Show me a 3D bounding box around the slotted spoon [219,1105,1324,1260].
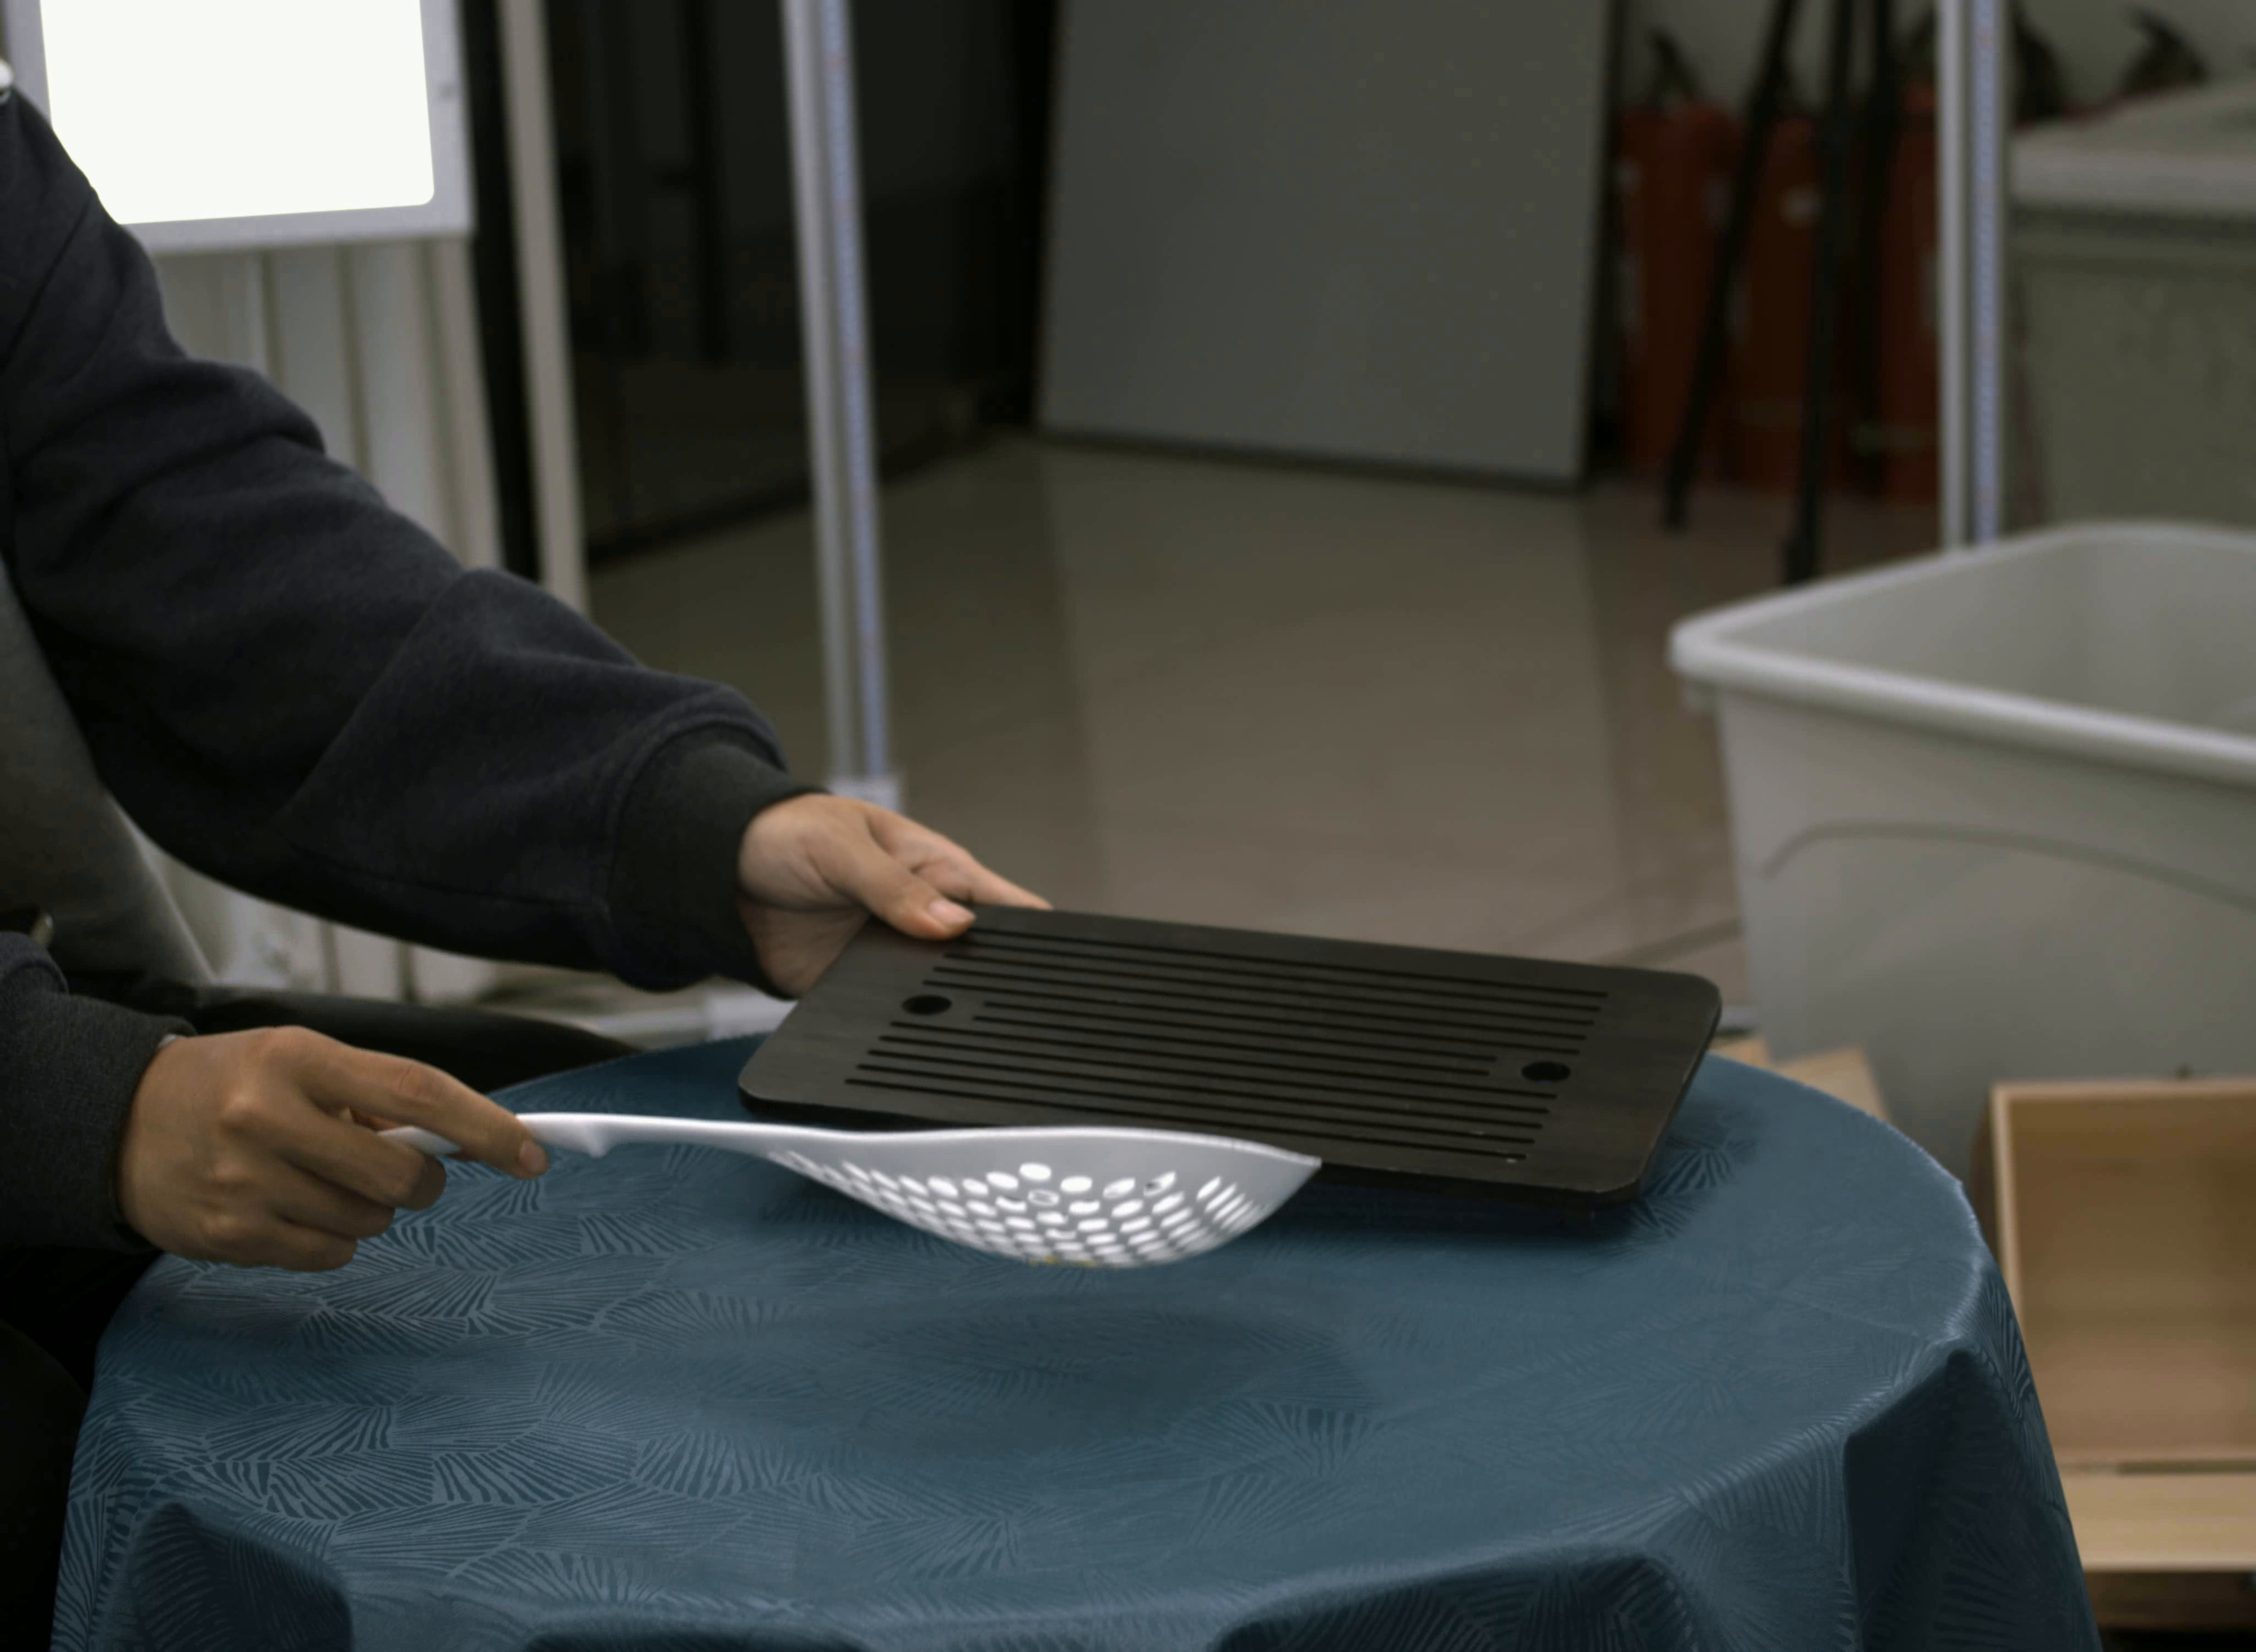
[{"bbox_3d":[-0.112,0.102,1.635,0.347,0.051,0.135,4,-5,18],"label":"slotted spoon"}]

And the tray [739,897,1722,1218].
[{"bbox_3d":[0.037,0.076,1.798,0.305,0.019,0.169,5,23,17],"label":"tray"}]
